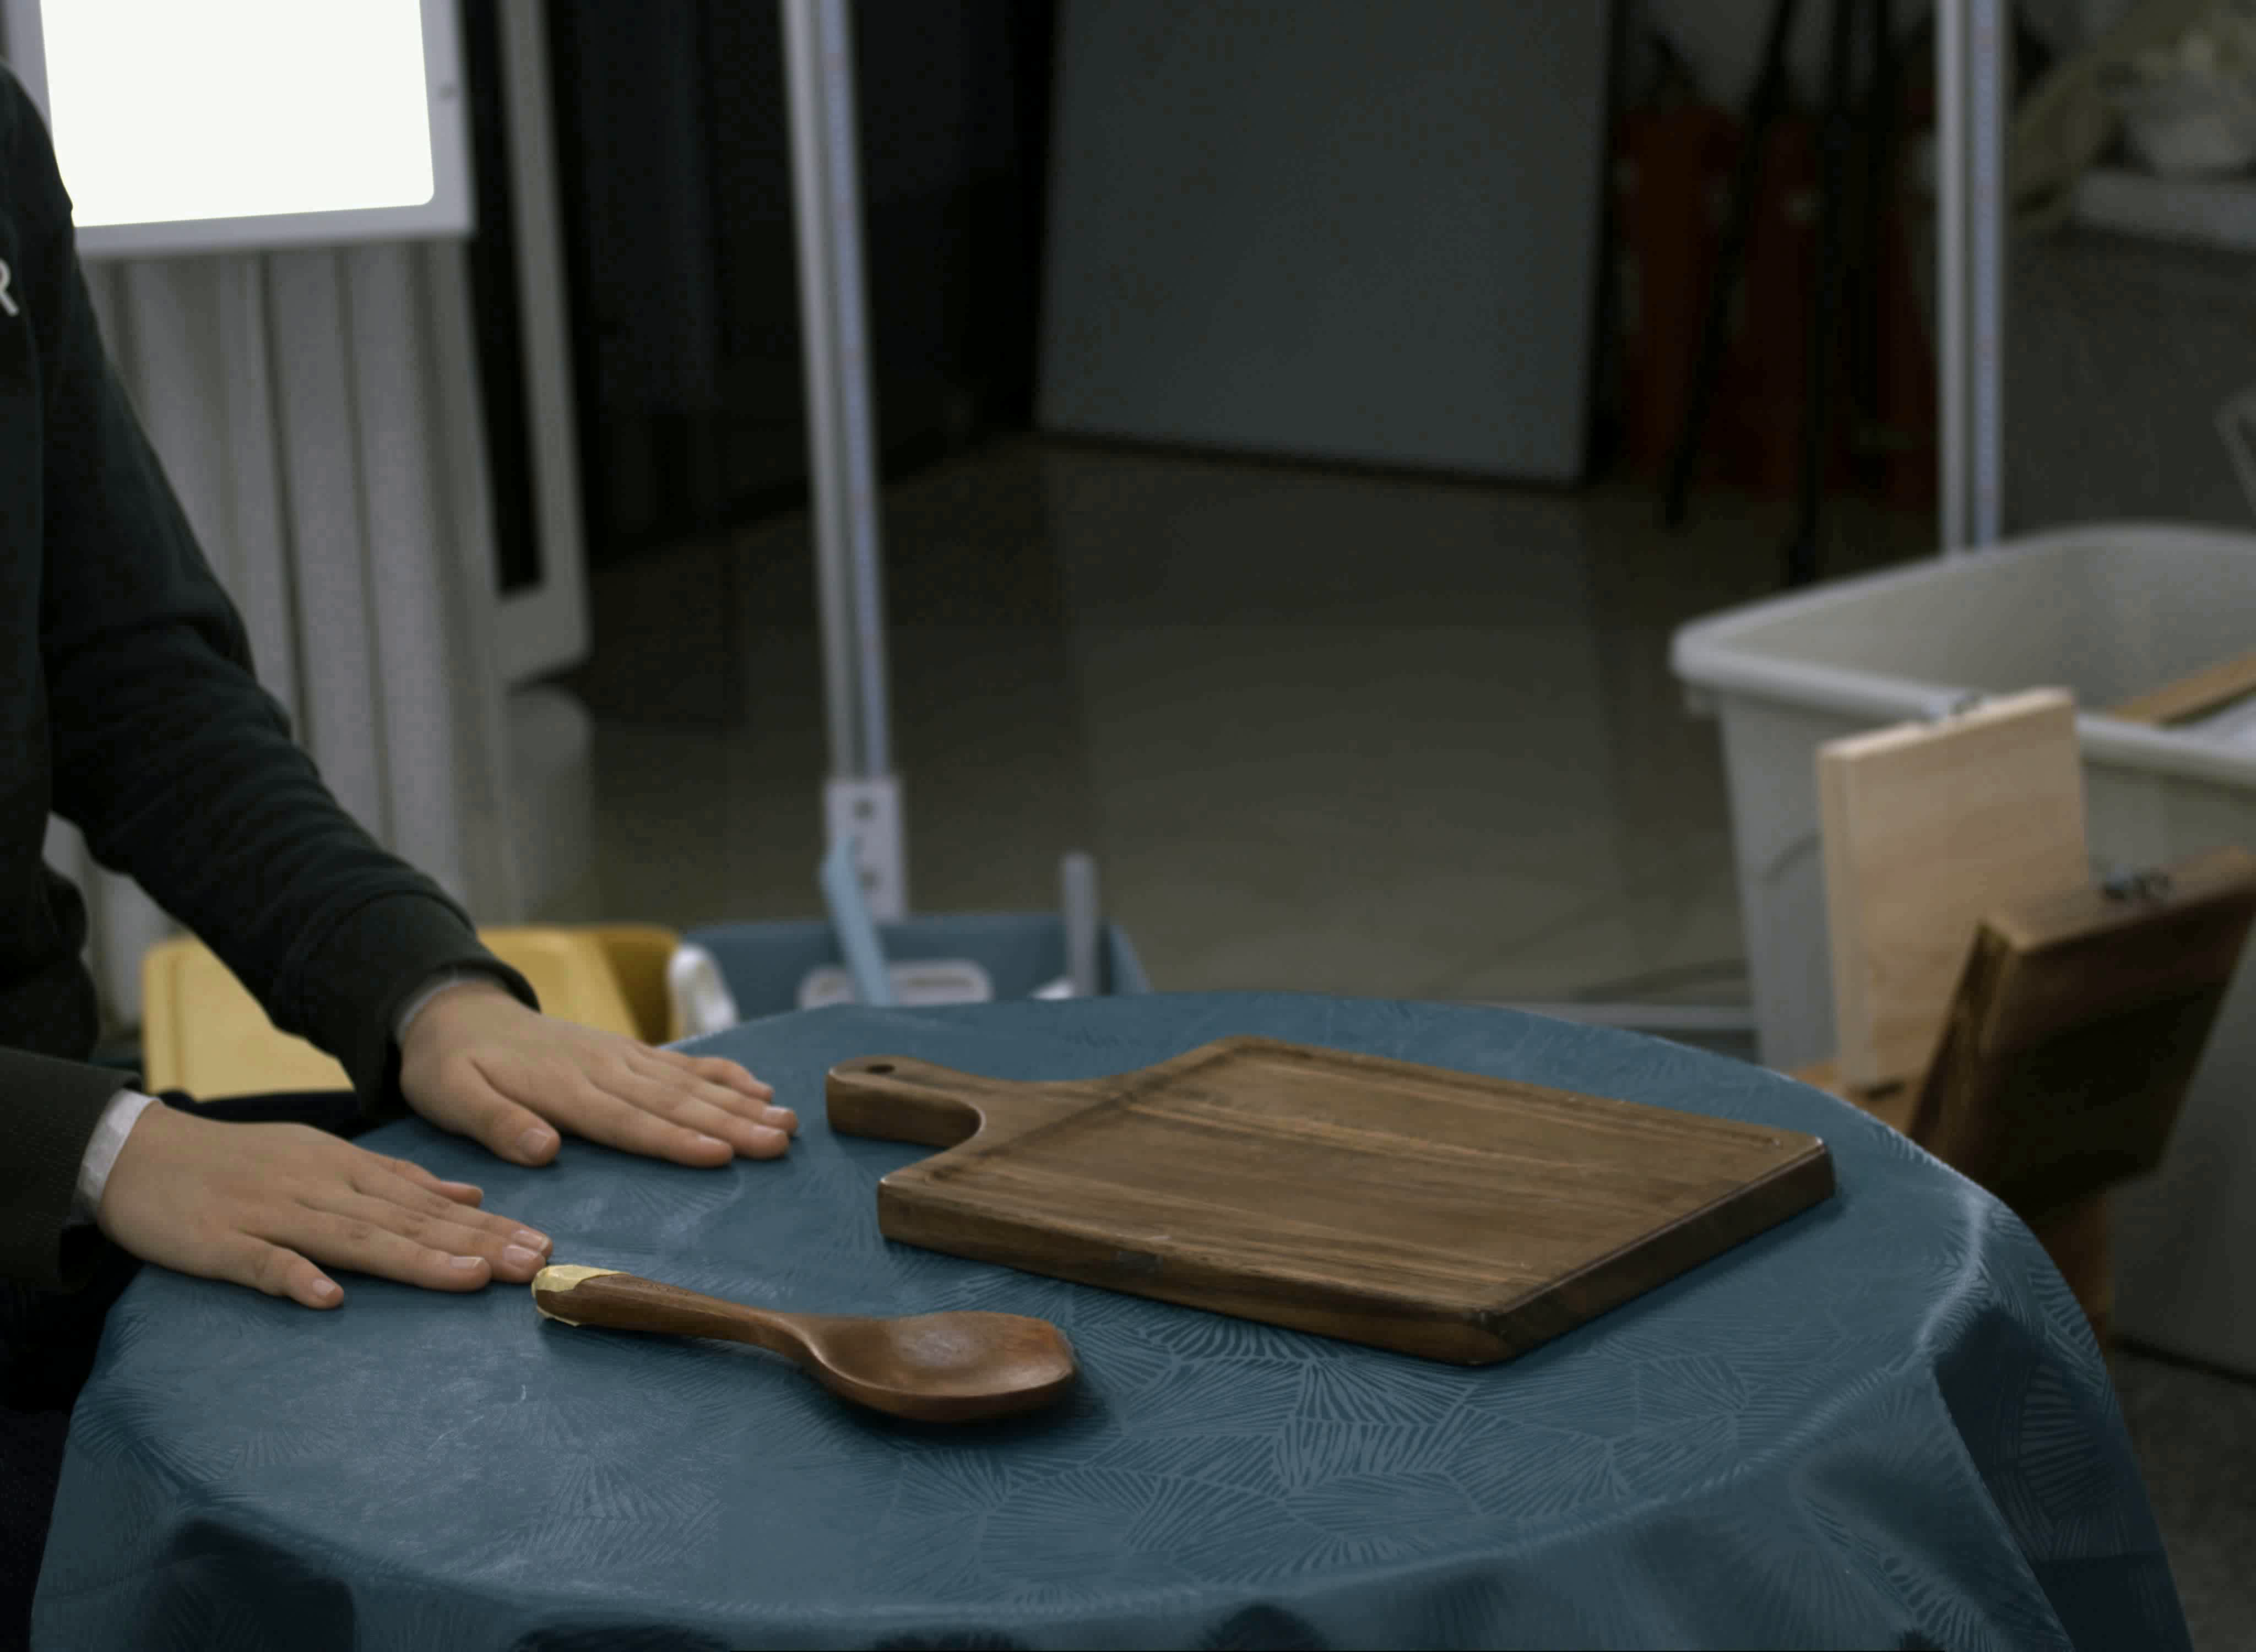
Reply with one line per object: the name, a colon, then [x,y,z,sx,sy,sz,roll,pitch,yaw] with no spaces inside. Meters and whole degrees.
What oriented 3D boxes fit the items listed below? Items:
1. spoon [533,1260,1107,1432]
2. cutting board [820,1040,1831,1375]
spoon: [-0.097,0.155,1.626,0.217,0.017,0.074,8,20,38]
cutting board: [0.035,0.113,1.759,0.355,0.023,0.197,7,19,40]
